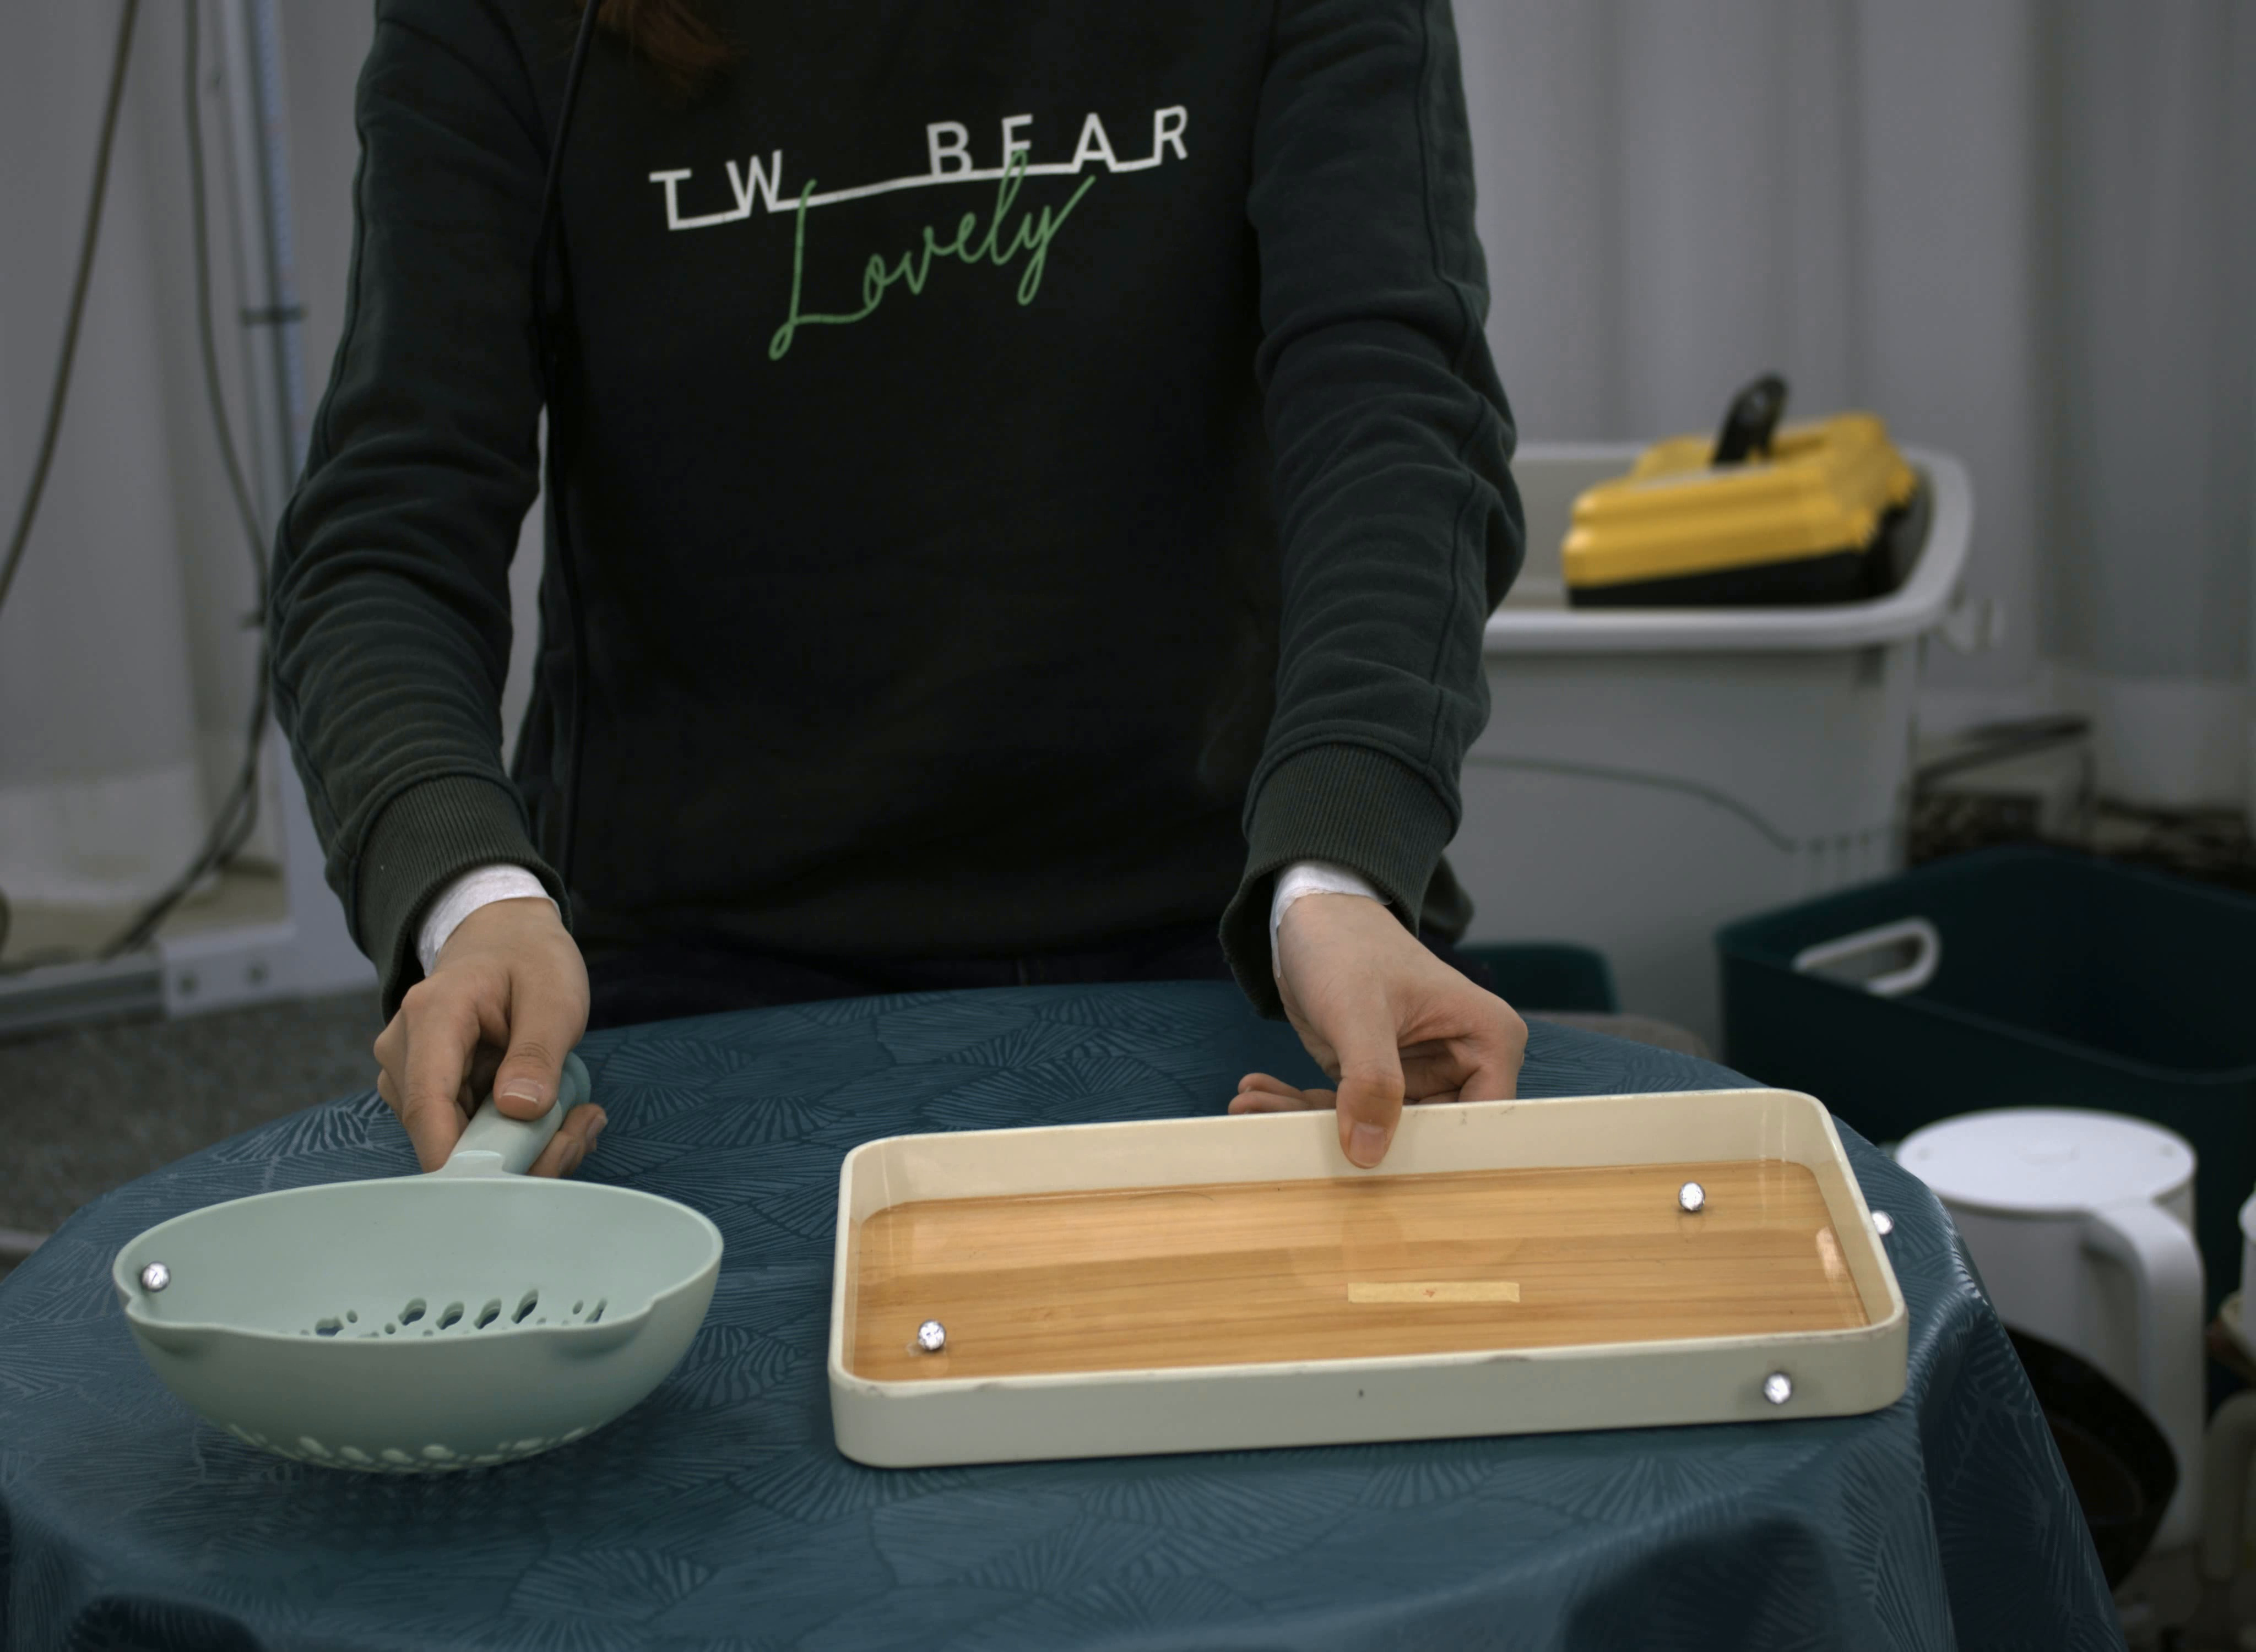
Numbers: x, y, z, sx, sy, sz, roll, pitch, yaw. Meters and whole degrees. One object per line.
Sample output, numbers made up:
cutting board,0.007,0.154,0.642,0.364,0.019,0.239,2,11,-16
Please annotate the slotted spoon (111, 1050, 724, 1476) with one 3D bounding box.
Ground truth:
slotted spoon,-0.192,0.113,1.615,0.169,0.075,0.362,0,18,2

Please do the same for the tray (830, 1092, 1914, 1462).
tray,0.065,0.128,1.580,0.299,0.027,0.193,-2,18,0
